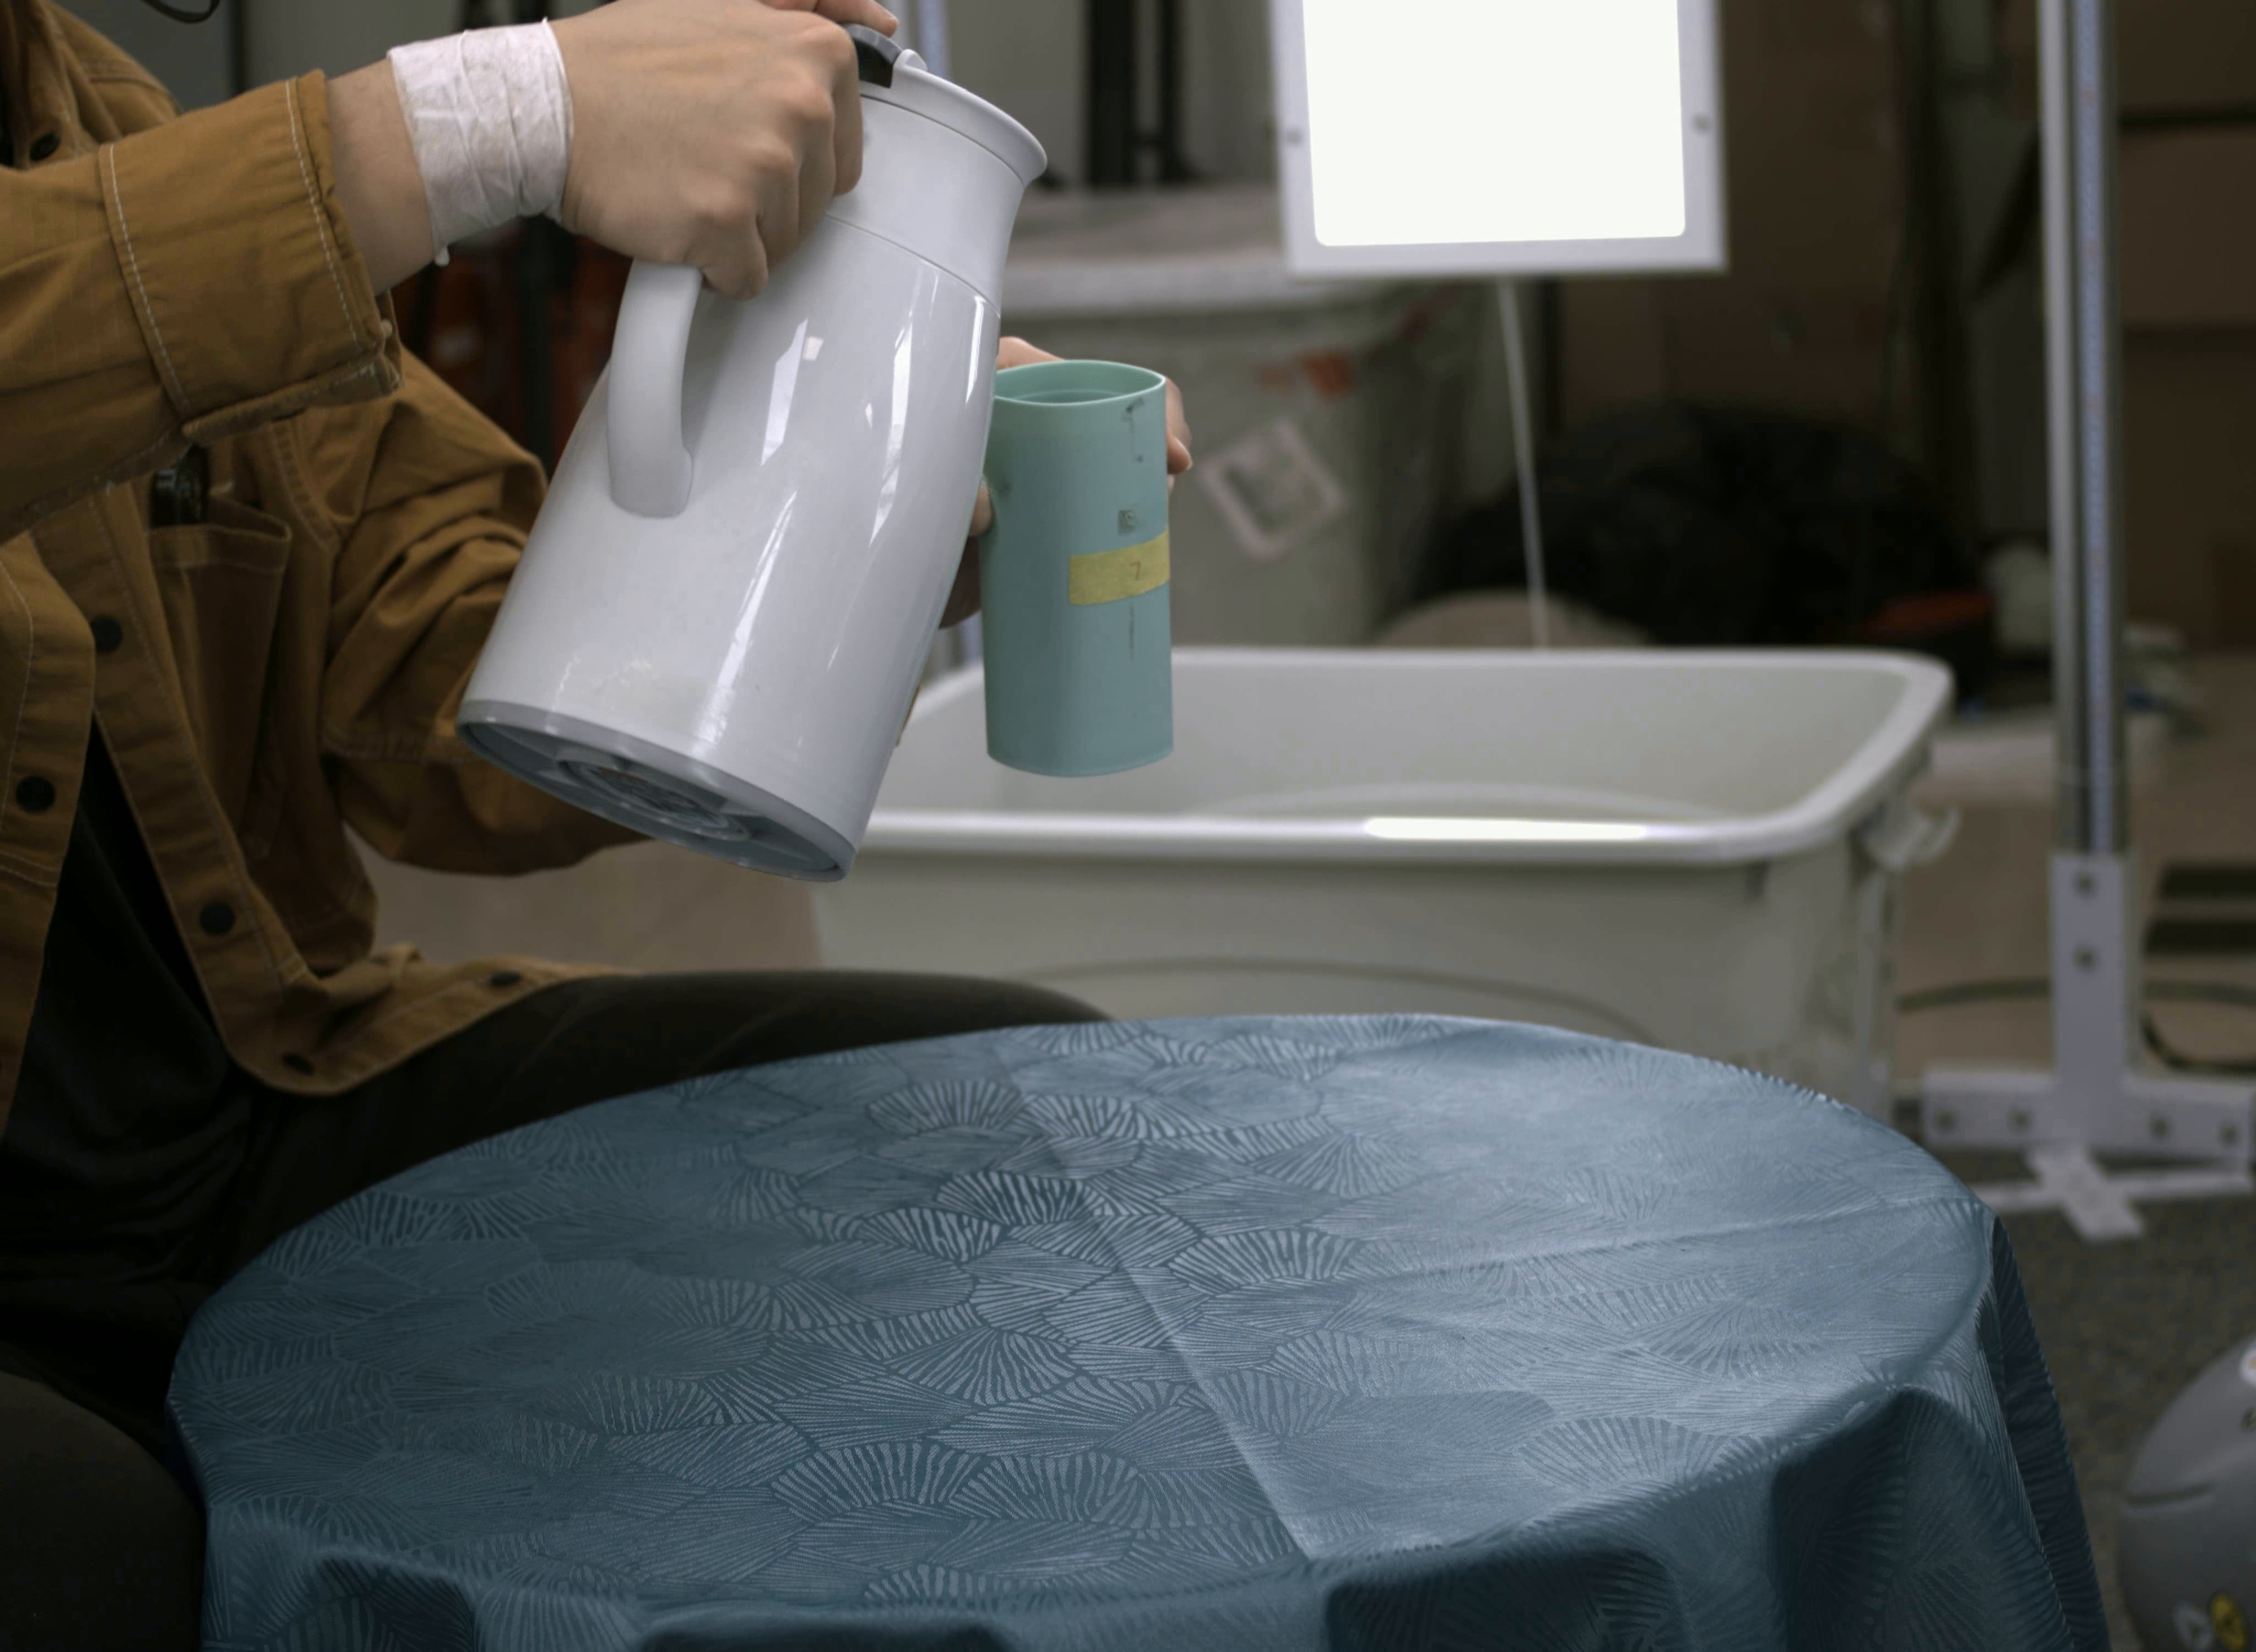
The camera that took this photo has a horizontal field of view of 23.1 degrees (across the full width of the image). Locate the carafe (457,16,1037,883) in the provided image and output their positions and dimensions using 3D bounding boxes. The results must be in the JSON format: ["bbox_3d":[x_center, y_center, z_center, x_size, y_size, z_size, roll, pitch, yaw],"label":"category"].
[{"bbox_3d":[-0.114,-0.126,1.726,0.134,0.248,0.165,15,-10,27],"label":"carafe"}]

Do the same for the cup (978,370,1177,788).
[{"bbox_3d":[-0.017,-0.086,1.877,0.066,0.133,0.066,-2,17,-1],"label":"cup"}]
